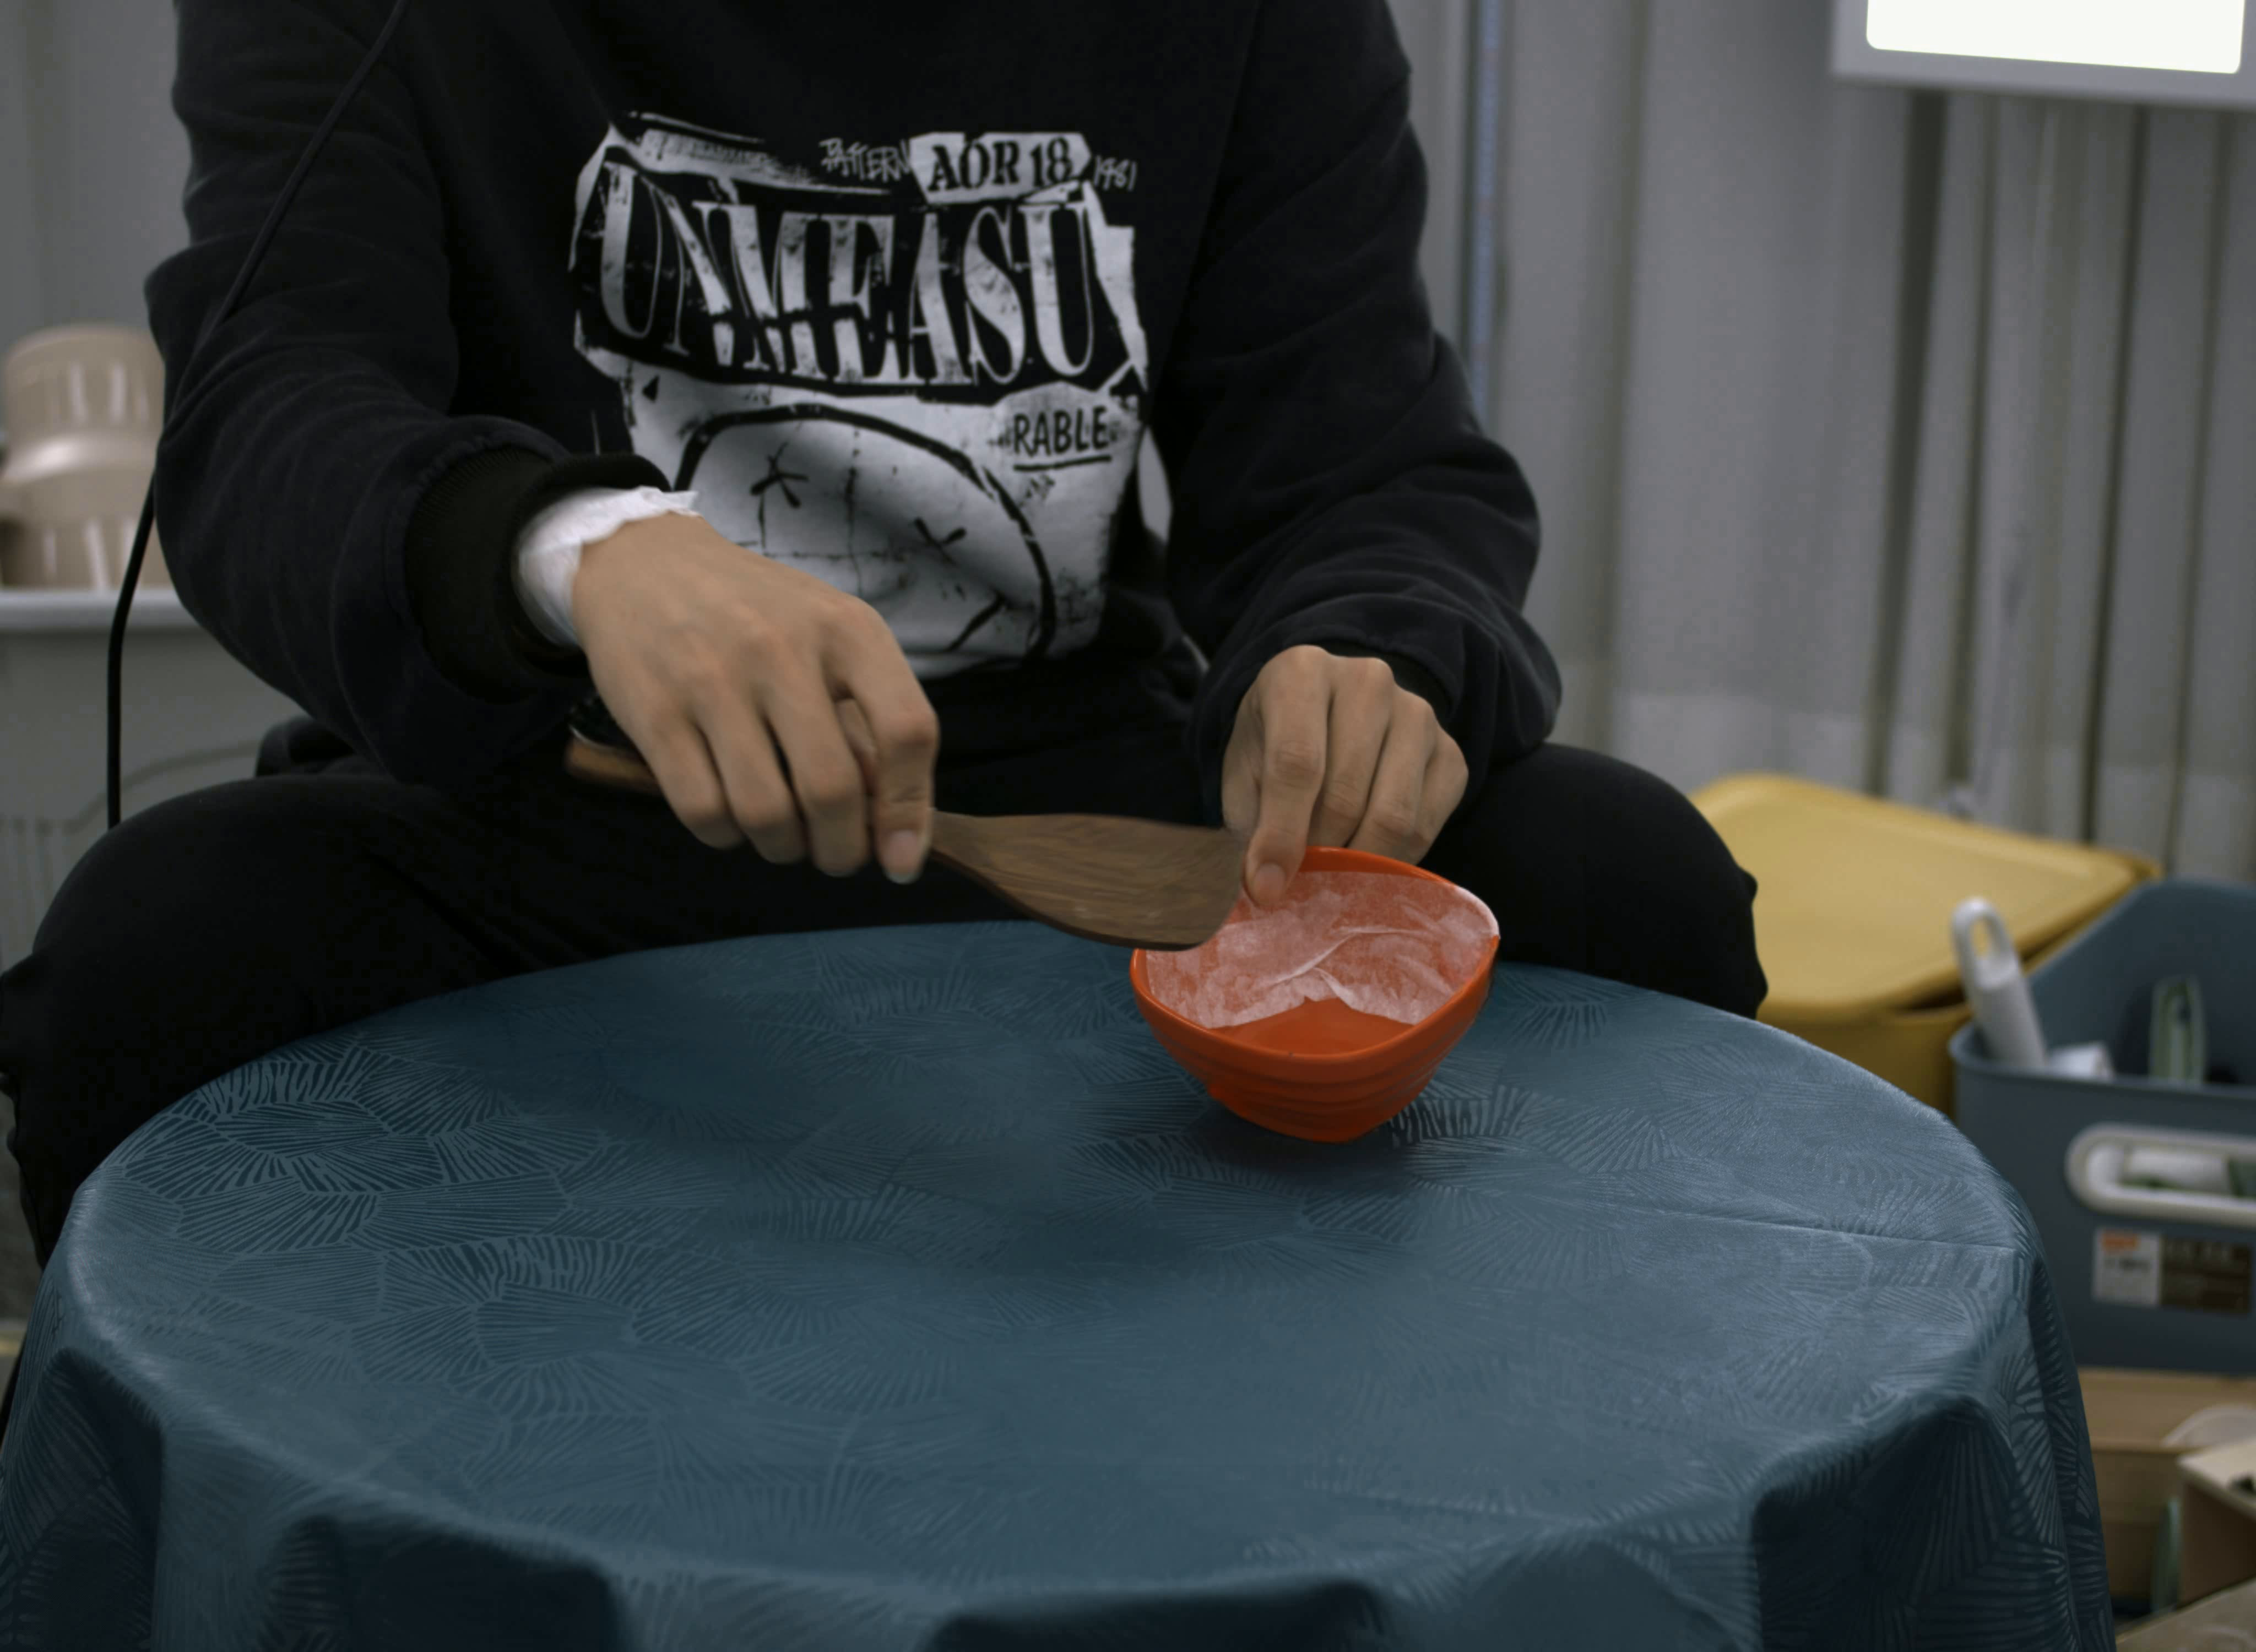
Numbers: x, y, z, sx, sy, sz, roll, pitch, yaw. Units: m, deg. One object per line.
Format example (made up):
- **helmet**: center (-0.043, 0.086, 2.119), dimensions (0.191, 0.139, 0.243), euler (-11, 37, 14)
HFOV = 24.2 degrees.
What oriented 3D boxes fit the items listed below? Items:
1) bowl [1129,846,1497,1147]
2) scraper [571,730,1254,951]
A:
- **bowl**: center (0.061, 0.060, 1.689), dimensions (0.118, 0.052, 0.118), euler (-4, 35, 3)
- **scraper**: center (-0.066, 0.000, 1.599), dimensions (0.210, 0.011, 0.075), euler (13, 31, 5)
